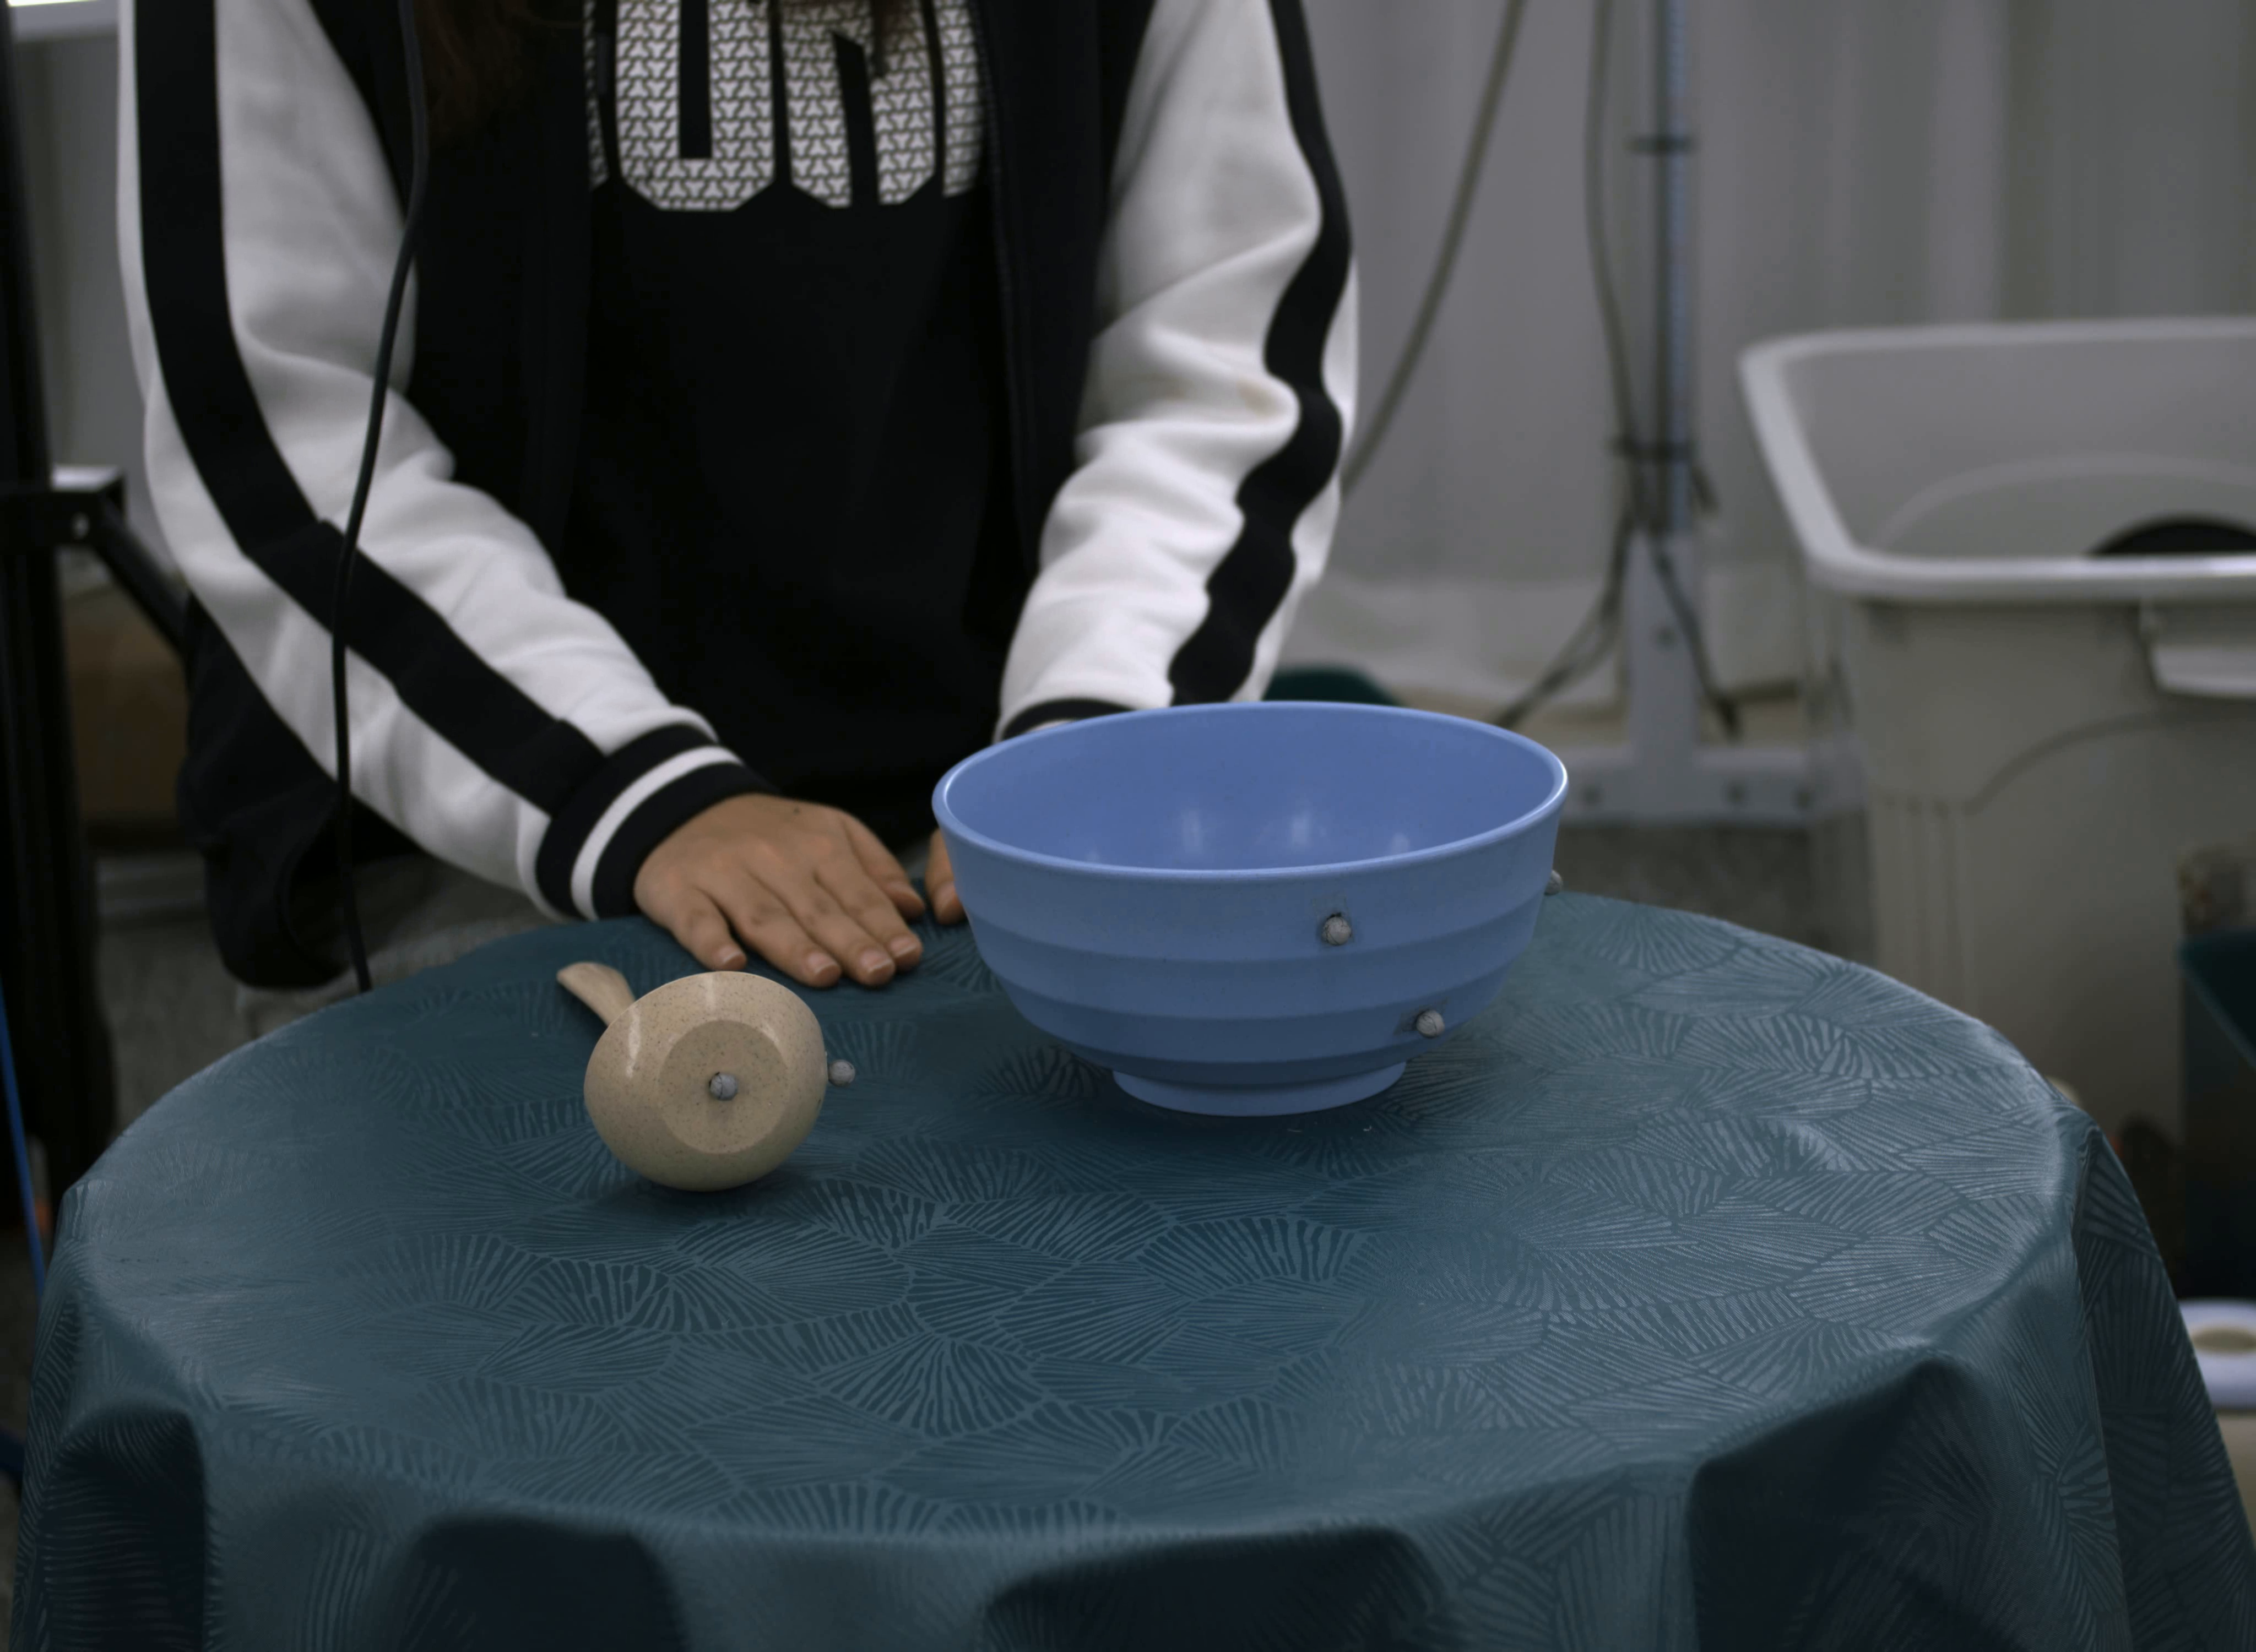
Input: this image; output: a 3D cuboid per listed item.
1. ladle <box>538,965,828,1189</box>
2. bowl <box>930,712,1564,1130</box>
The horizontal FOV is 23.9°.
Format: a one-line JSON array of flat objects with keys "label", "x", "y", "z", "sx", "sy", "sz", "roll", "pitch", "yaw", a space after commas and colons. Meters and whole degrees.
[{"label": "ladle", "x": -0.153, "y": 0.048, "z": 1.662, "sx": 0.071, "sy": 0.073, "sz": 0.258, "roll": -6, "pitch": 16, "yaw": -16}, {"label": "bowl", "x": 0.039, "y": 0.035, "z": 1.649, "sx": 0.195, "sy": 0.095, "sz": 0.197, "roll": -4, "pitch": 15, "yaw": 0}]
